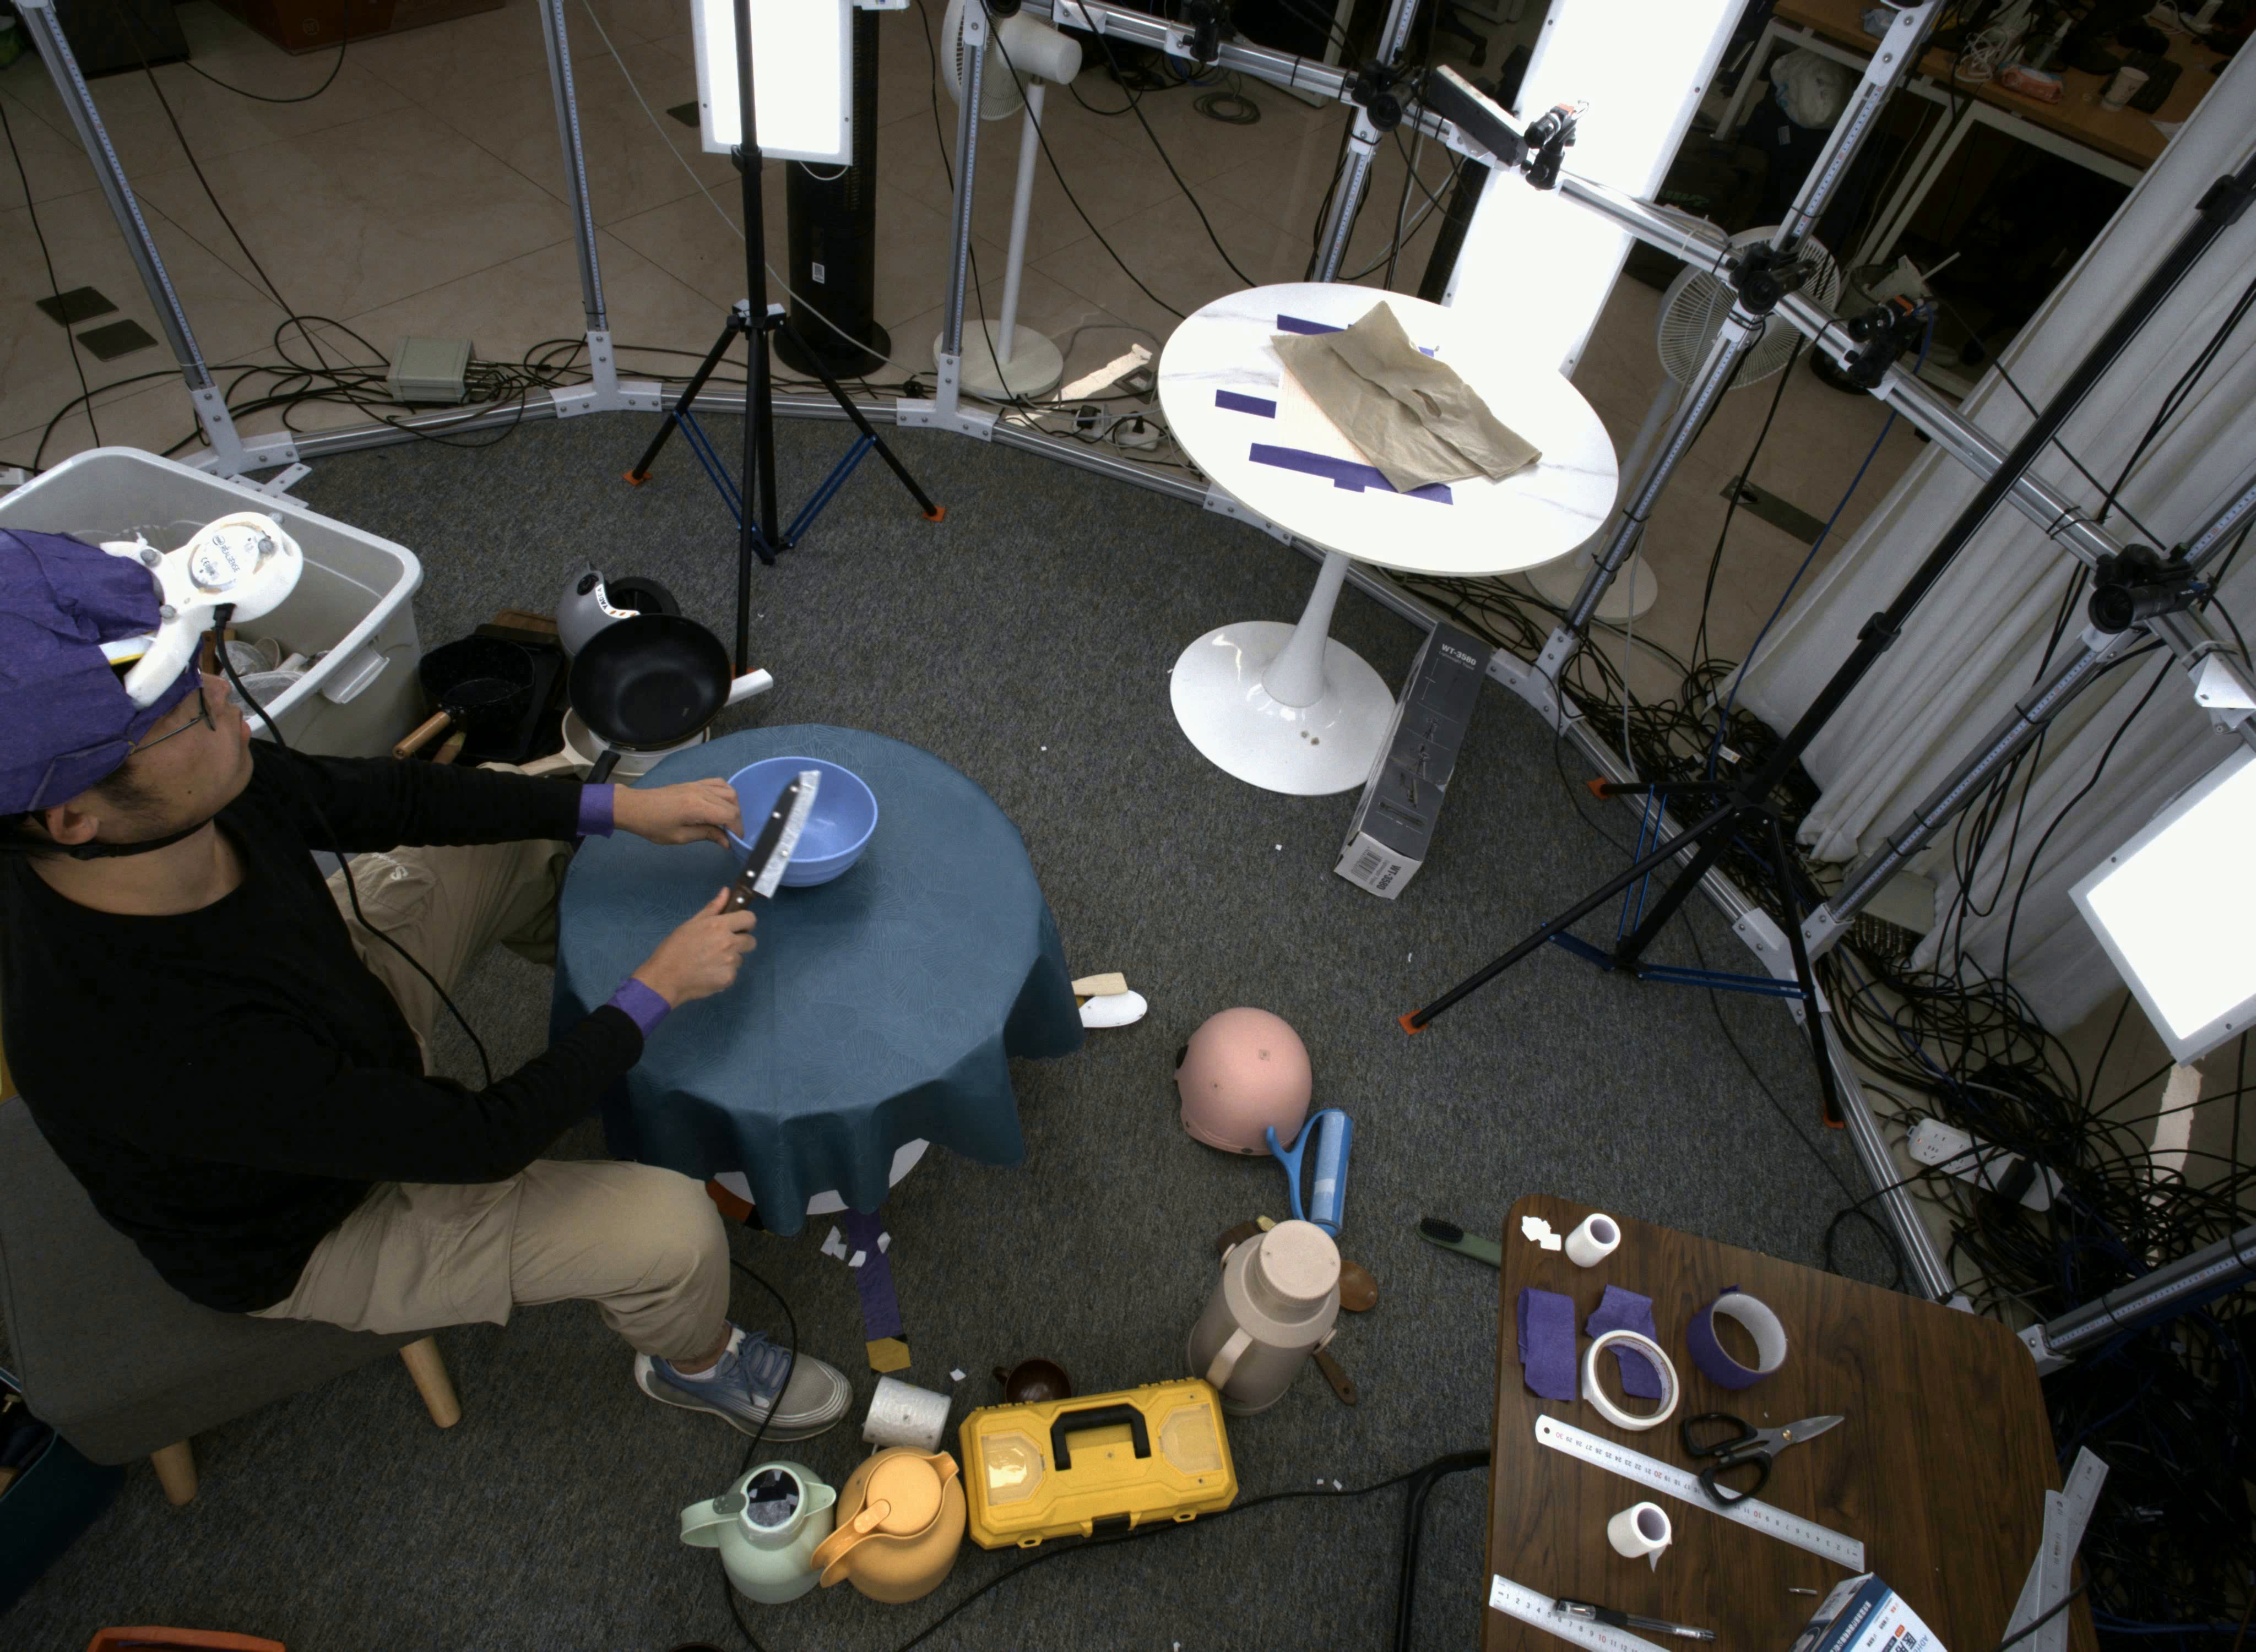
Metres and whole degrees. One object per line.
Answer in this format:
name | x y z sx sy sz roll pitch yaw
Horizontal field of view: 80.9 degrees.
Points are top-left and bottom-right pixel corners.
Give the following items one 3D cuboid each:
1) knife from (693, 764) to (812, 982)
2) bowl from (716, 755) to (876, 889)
knife | -0.441 0.051 1.527 0.051 0.019 0.289 31 72 -24
bowl | -0.421 0.009 1.647 0.196 0.097 0.192 10 43 -8
